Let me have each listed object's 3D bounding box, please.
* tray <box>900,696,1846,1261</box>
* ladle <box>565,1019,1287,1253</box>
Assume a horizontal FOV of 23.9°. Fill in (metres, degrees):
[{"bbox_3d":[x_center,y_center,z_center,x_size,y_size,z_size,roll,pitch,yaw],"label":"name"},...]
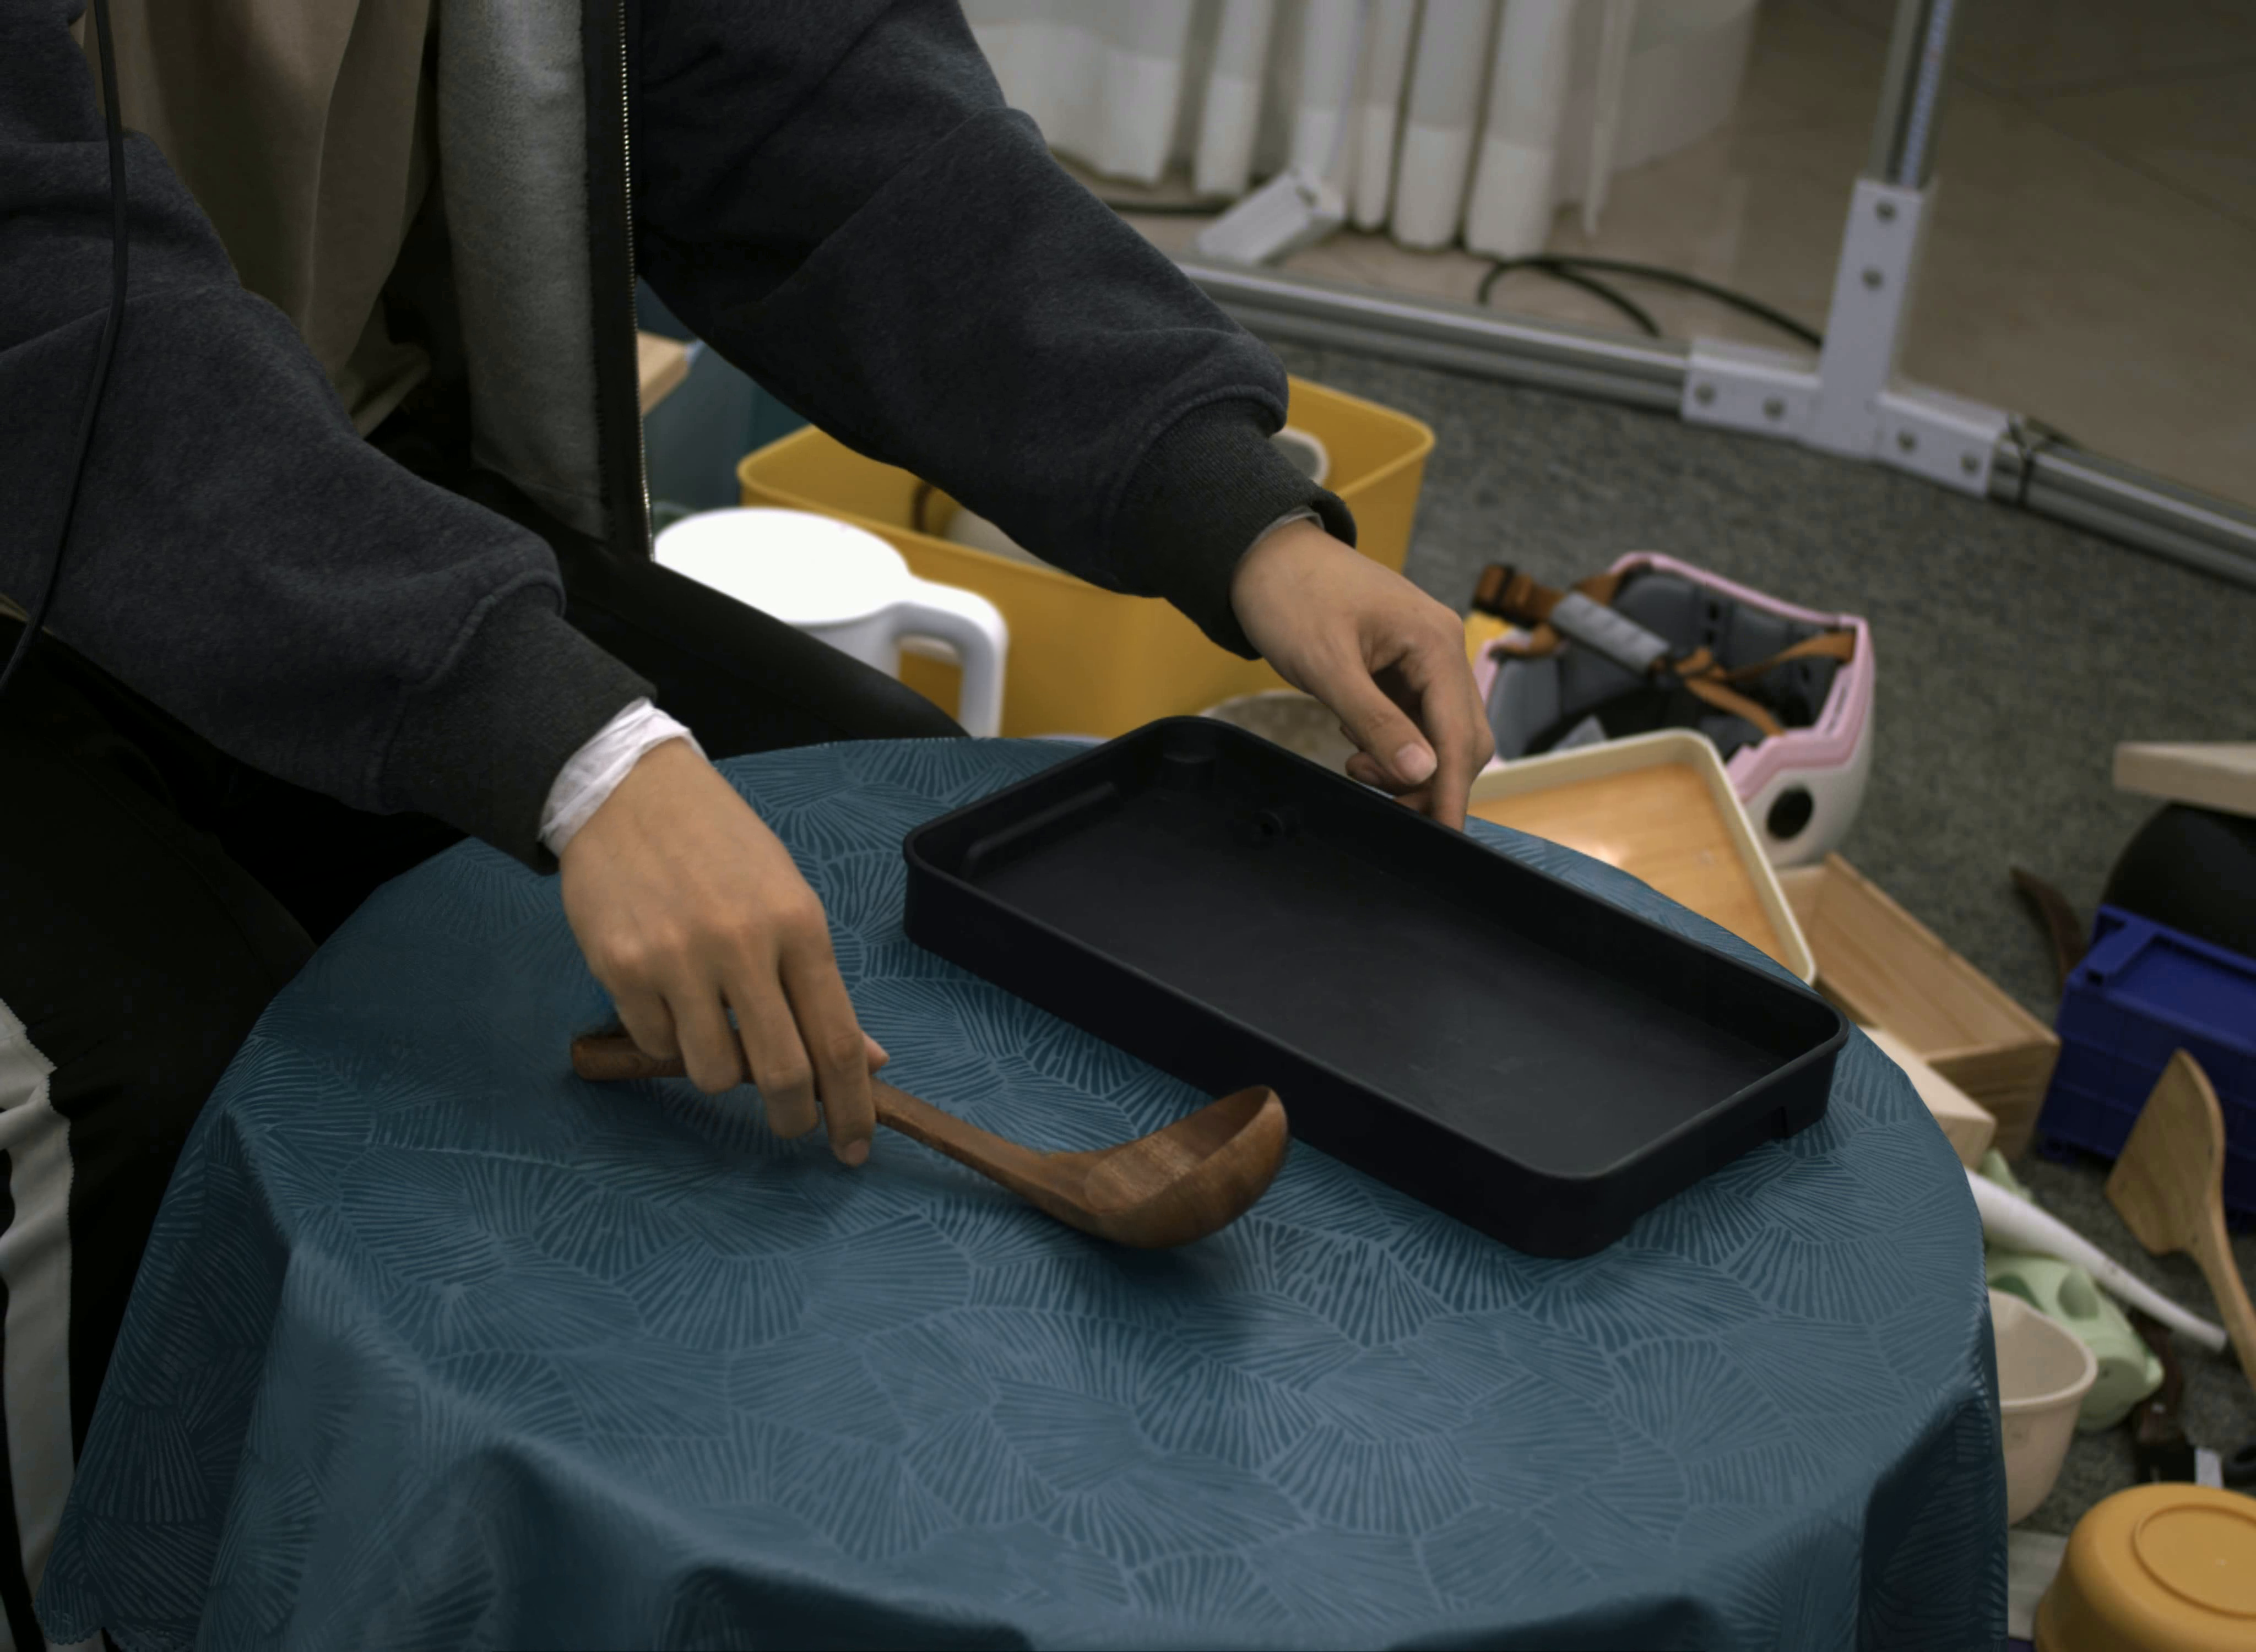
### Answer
[{"bbox_3d":[0.084,0.049,1.920,0.320,0.037,0.183,27,34,32],"label":"tray"},{"bbox_3d":[-0.071,0.088,1.785,0.261,0.065,0.076,16,28,18],"label":"ladle"}]
